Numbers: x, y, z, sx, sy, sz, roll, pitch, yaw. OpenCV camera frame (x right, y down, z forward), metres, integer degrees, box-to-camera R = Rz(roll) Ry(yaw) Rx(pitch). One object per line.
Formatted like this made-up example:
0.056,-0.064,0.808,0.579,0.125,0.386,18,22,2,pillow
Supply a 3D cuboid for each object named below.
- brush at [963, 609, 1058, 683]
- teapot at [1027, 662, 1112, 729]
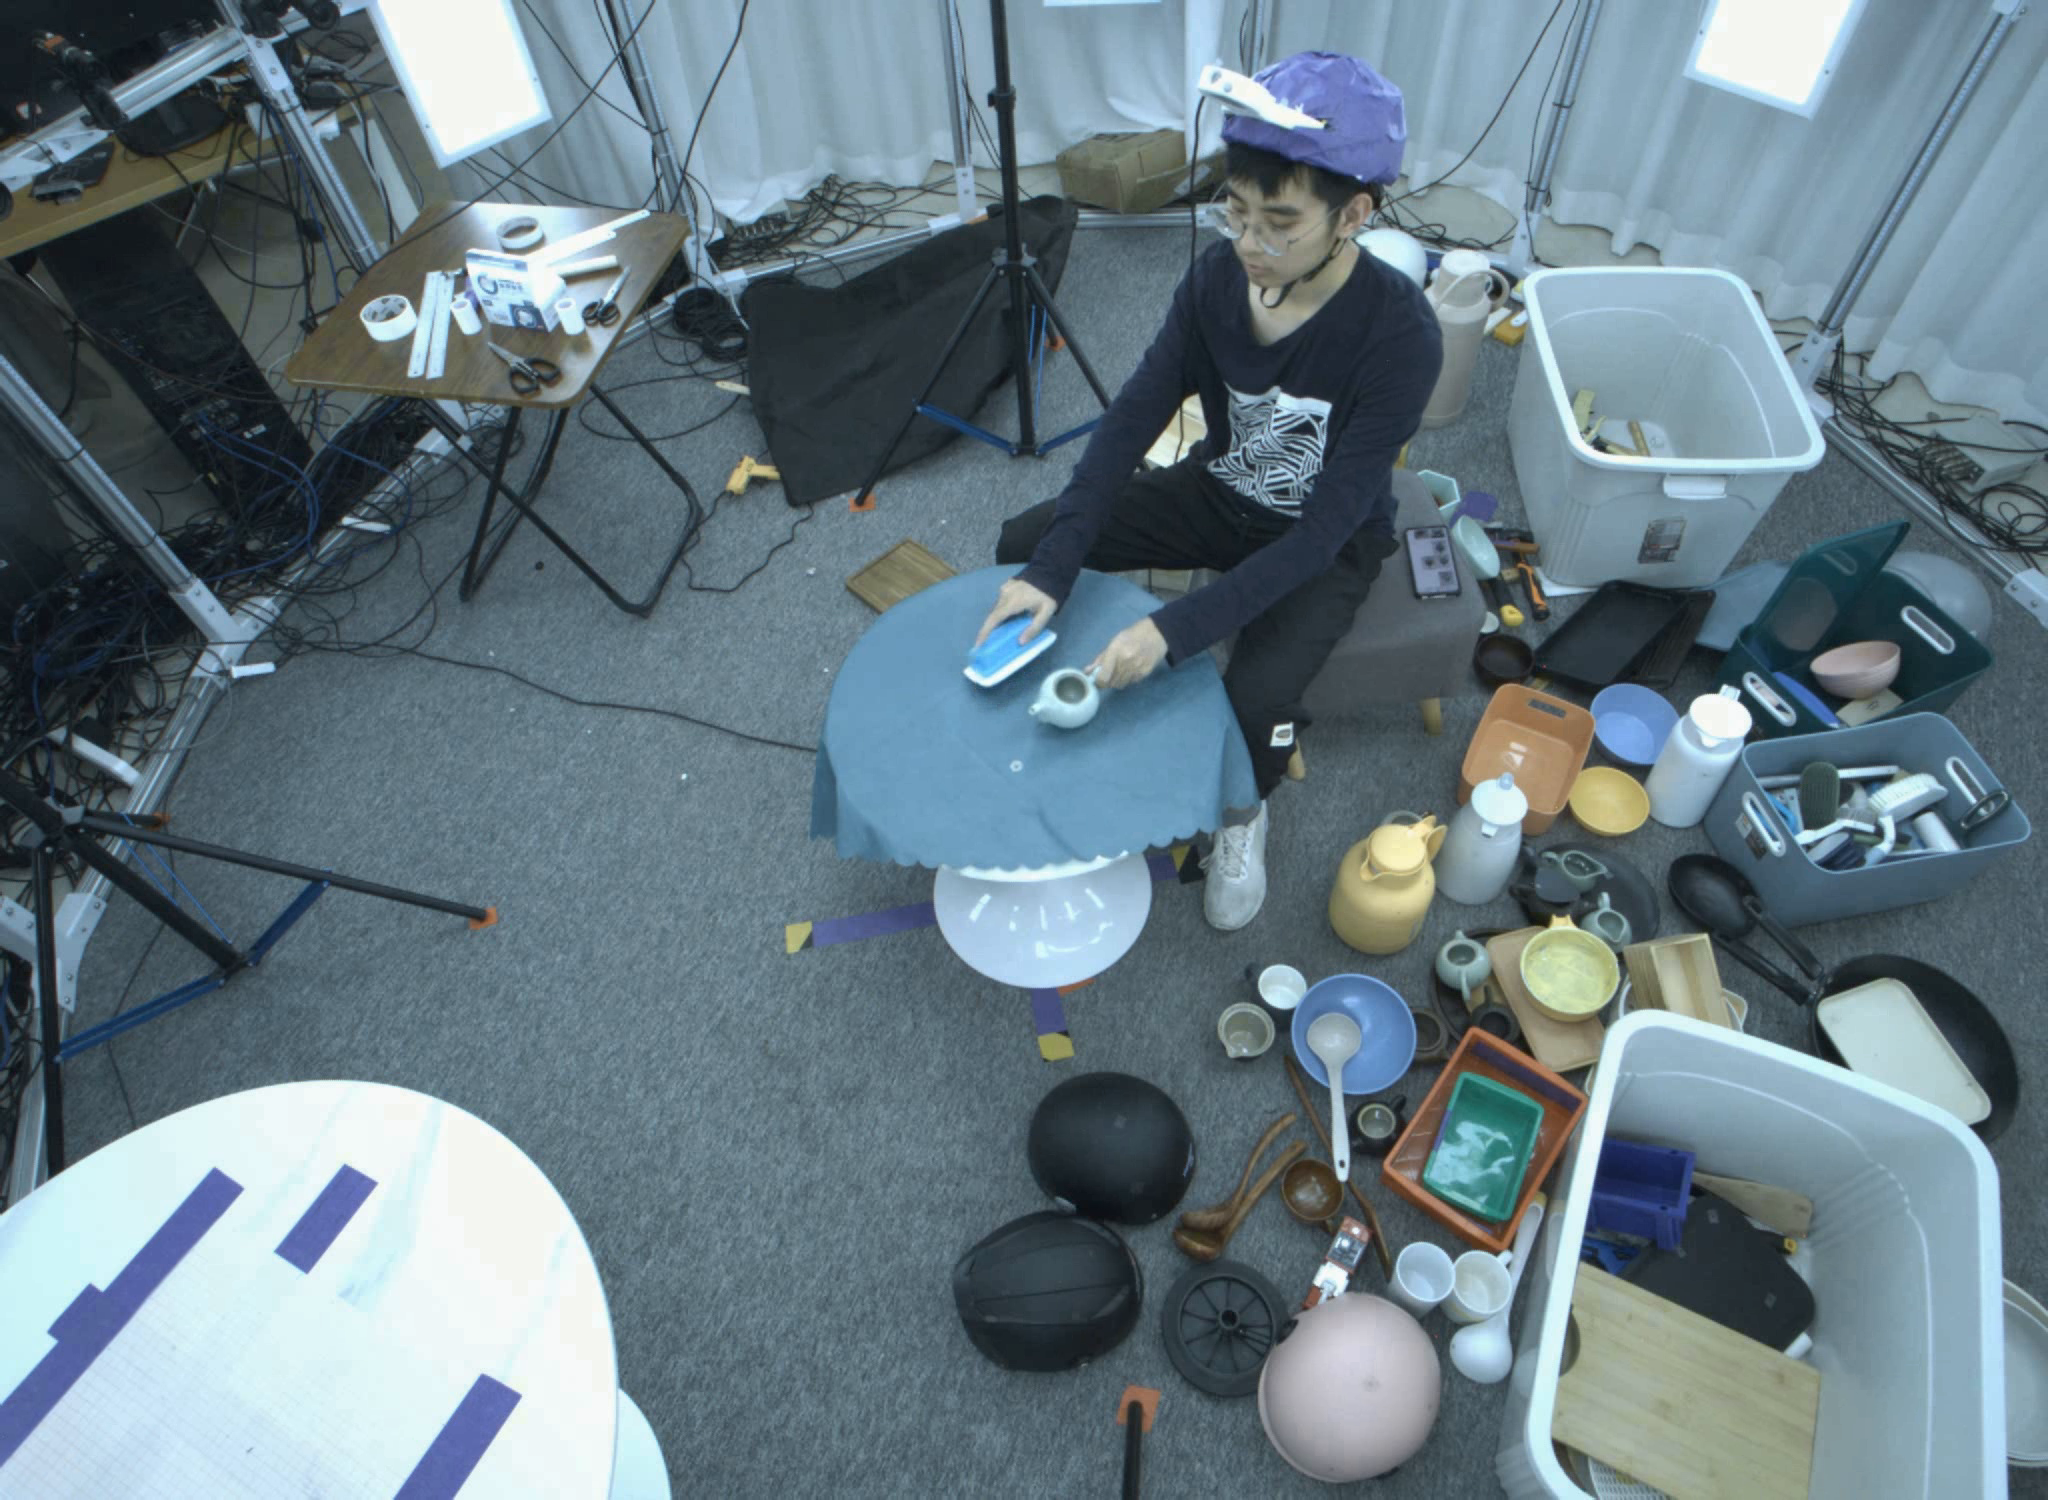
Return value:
-0.024,-0.163,1.842,0.145,0.057,0.082,-37,40,-15,brush
0.066,-0.075,1.782,0.145,0.075,0.087,-30,69,-14,teapot
